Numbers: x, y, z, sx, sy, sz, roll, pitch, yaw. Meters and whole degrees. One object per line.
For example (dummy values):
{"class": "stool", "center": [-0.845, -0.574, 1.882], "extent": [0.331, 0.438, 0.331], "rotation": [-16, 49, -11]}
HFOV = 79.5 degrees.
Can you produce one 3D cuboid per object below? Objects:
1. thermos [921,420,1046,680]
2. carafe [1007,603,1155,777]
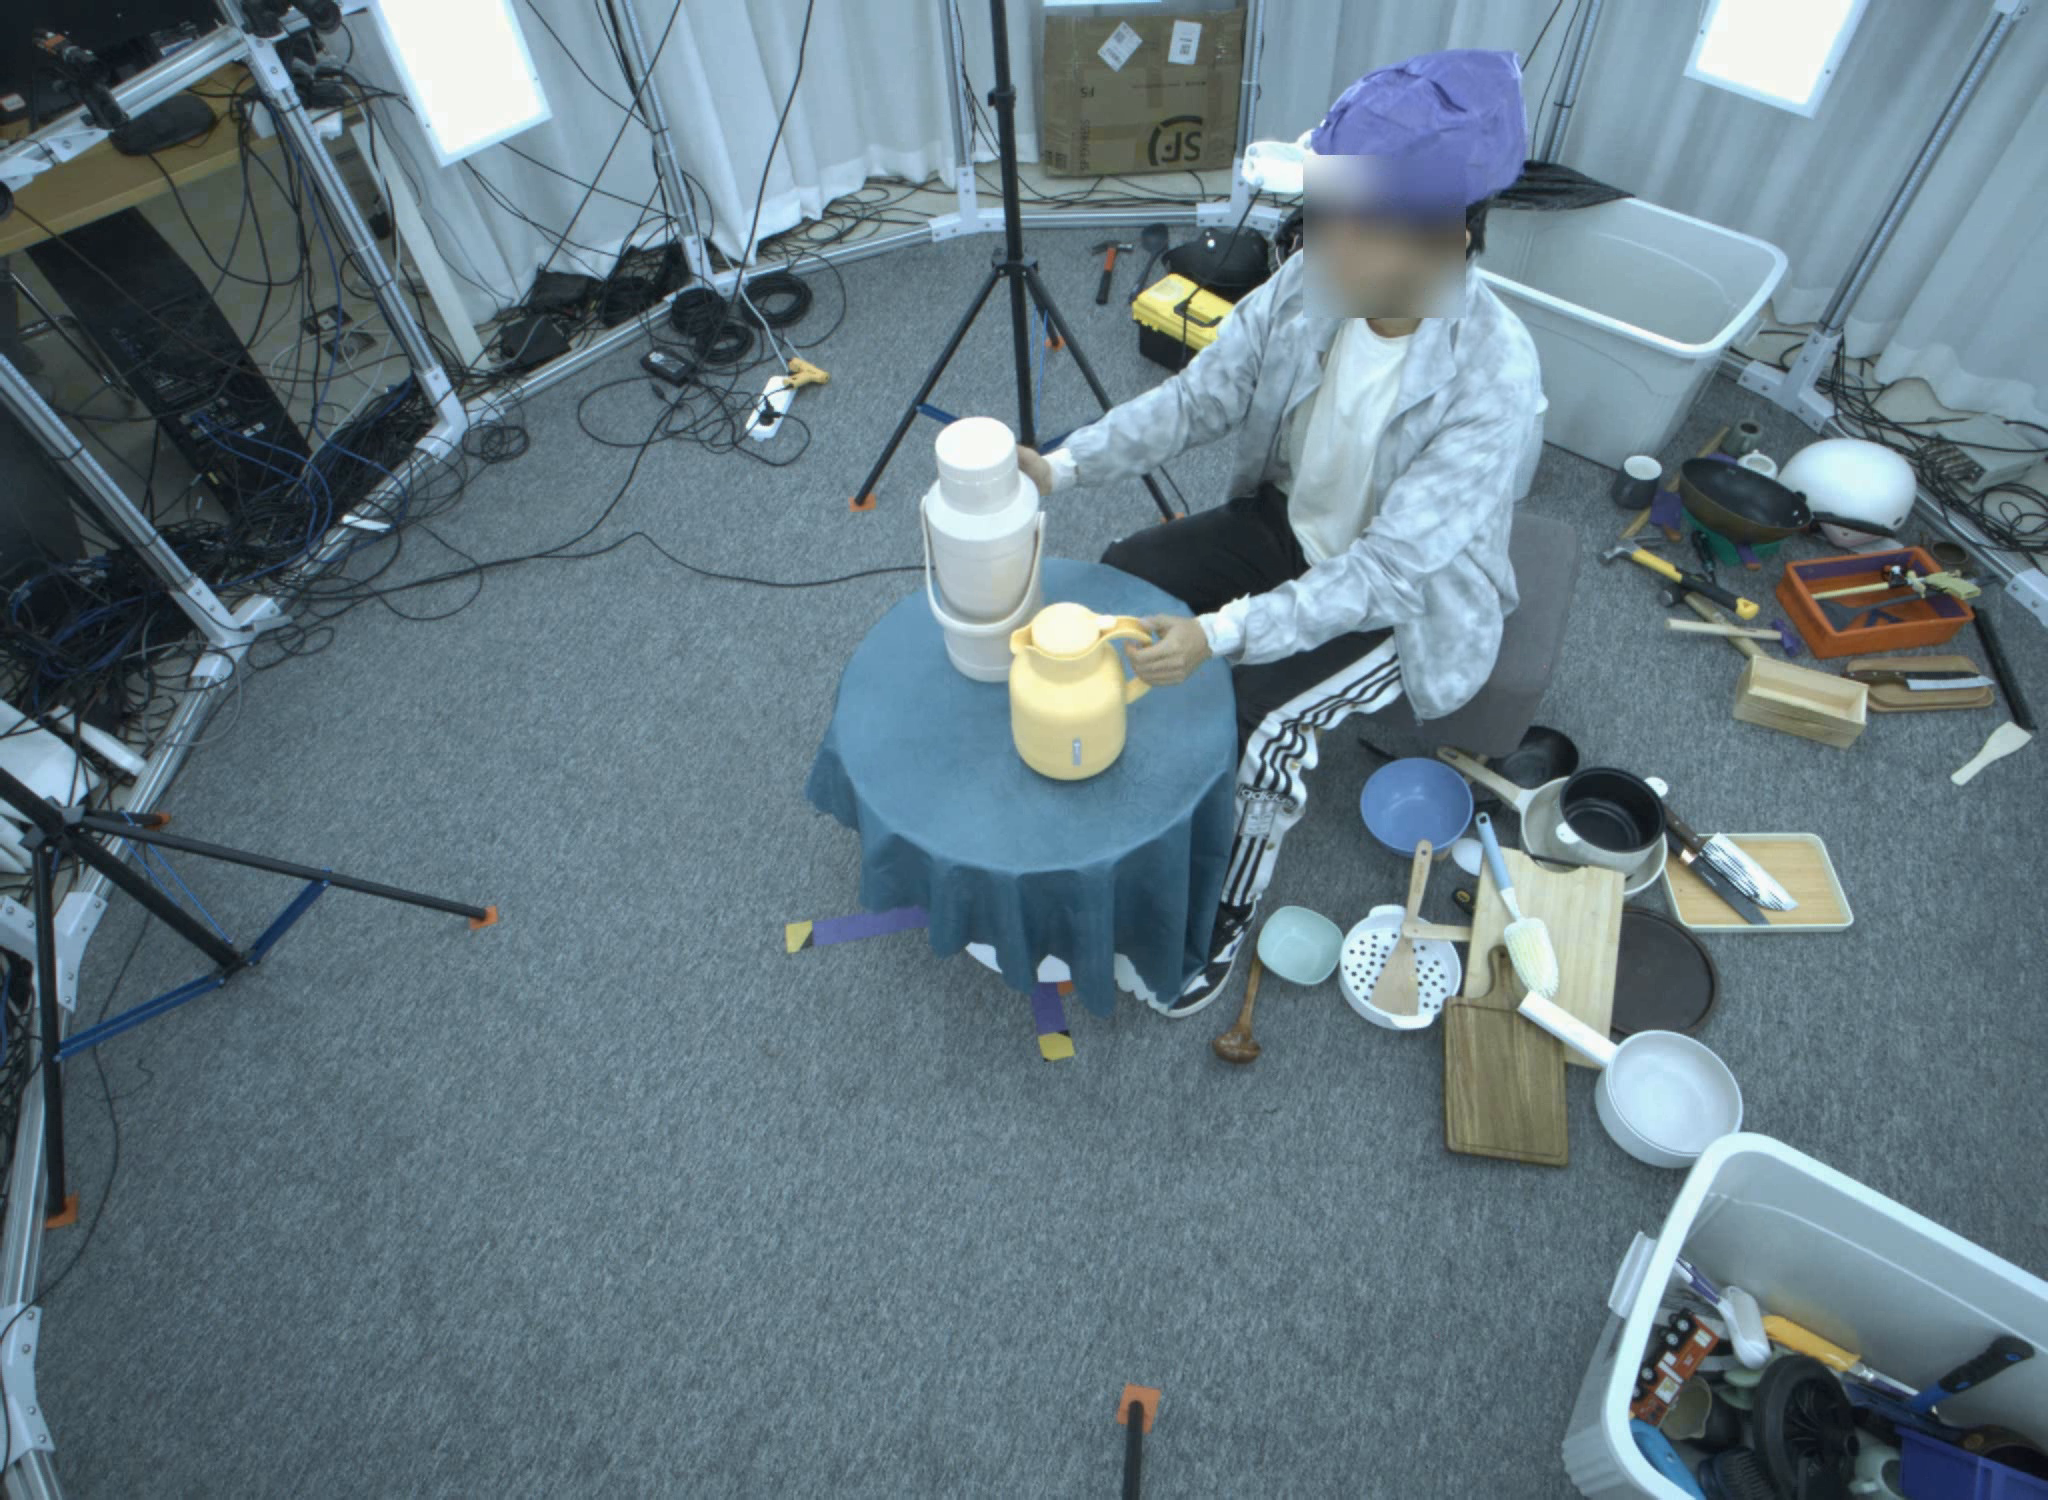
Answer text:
{"class": "thermos", "center": [-0.048, -0.294, 1.754], "extent": [0.174, 0.411, 0.206], "rotation": [10, 56, 12]}
{"class": "carafe", "center": [0.079, -0.090, 1.689], "extent": [0.203, 0.263, 0.161], "rotation": [-8, 57, -1]}
